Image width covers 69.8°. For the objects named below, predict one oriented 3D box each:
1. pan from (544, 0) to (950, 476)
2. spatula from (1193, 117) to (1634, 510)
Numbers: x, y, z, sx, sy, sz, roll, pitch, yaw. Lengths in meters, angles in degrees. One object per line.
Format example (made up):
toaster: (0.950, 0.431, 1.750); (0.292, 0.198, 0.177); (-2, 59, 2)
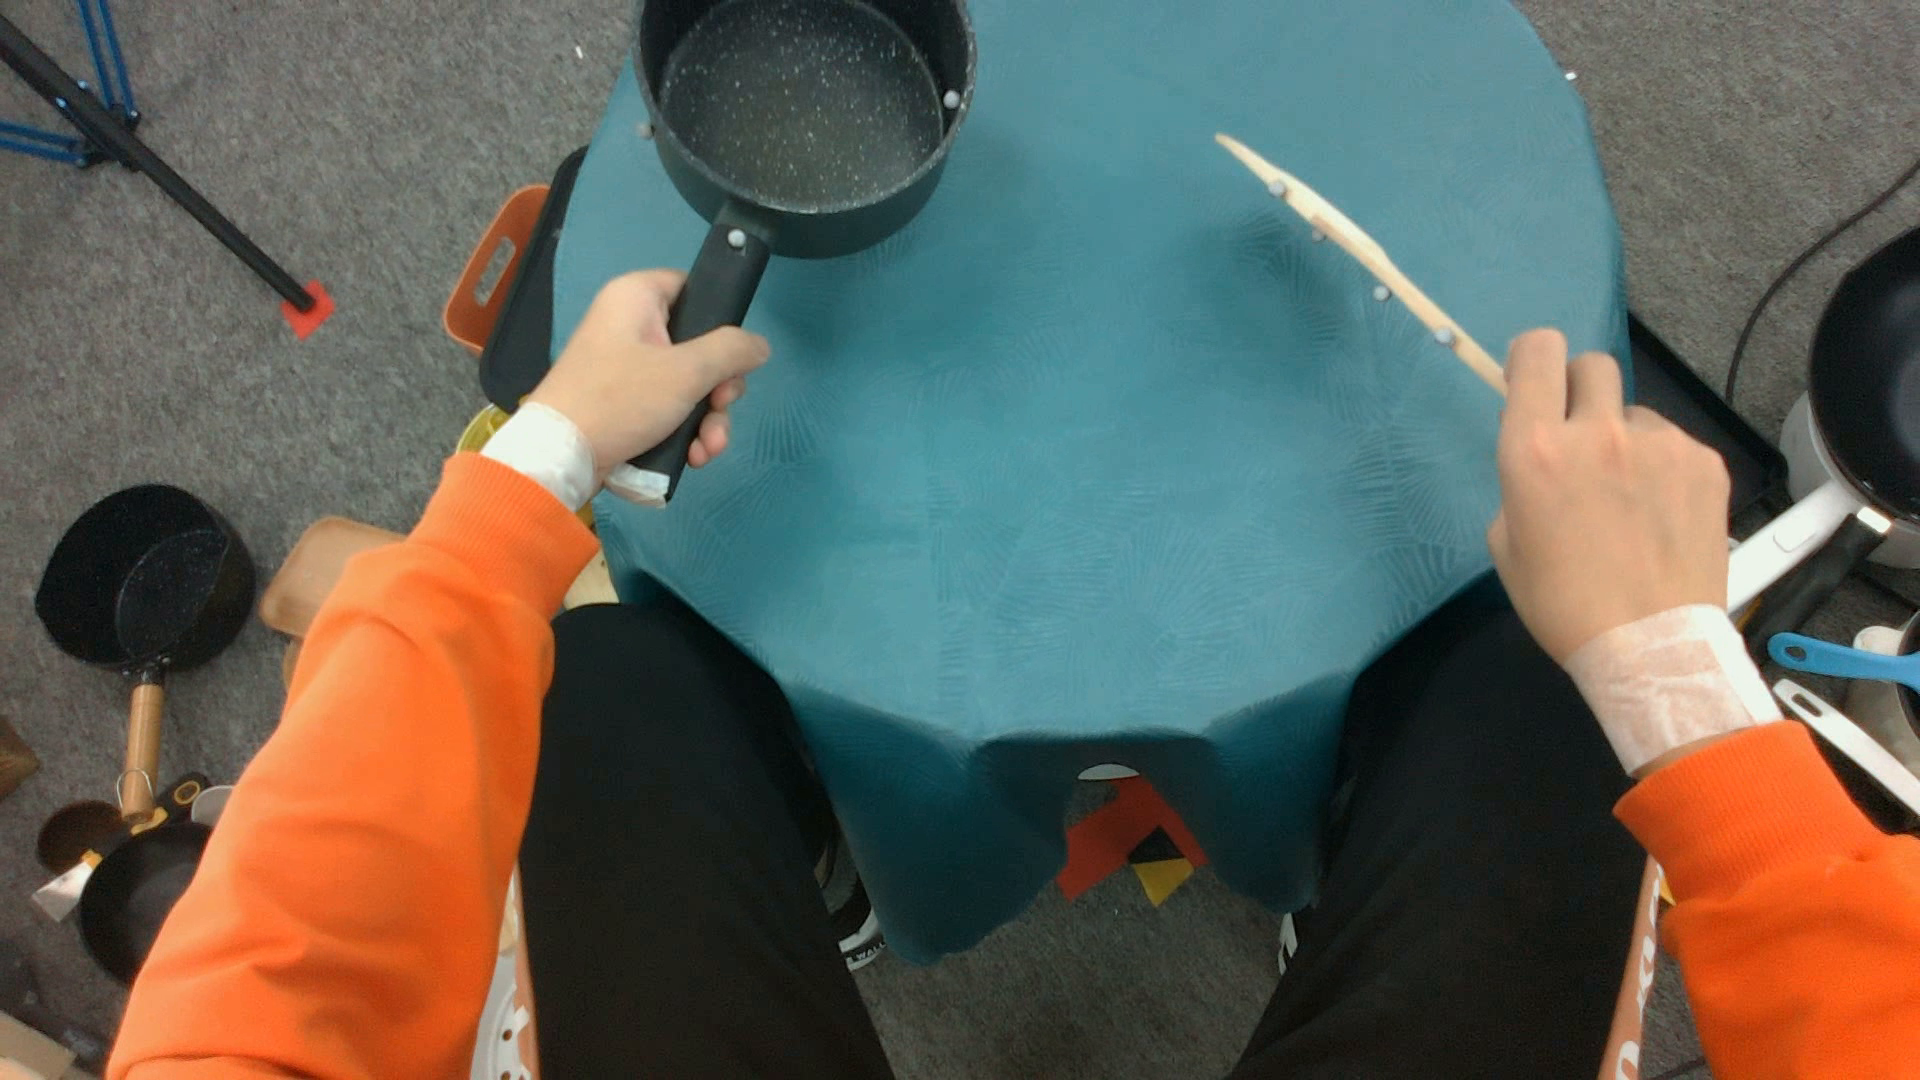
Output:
pan: (-0.121, -0.175, 0.700); (0.172, 0.086, 0.329); (22, 74, -4)
spatula: (0.208, -0.115, 0.649); (0.010, 0.072, 0.293); (-50, 52, 22)
